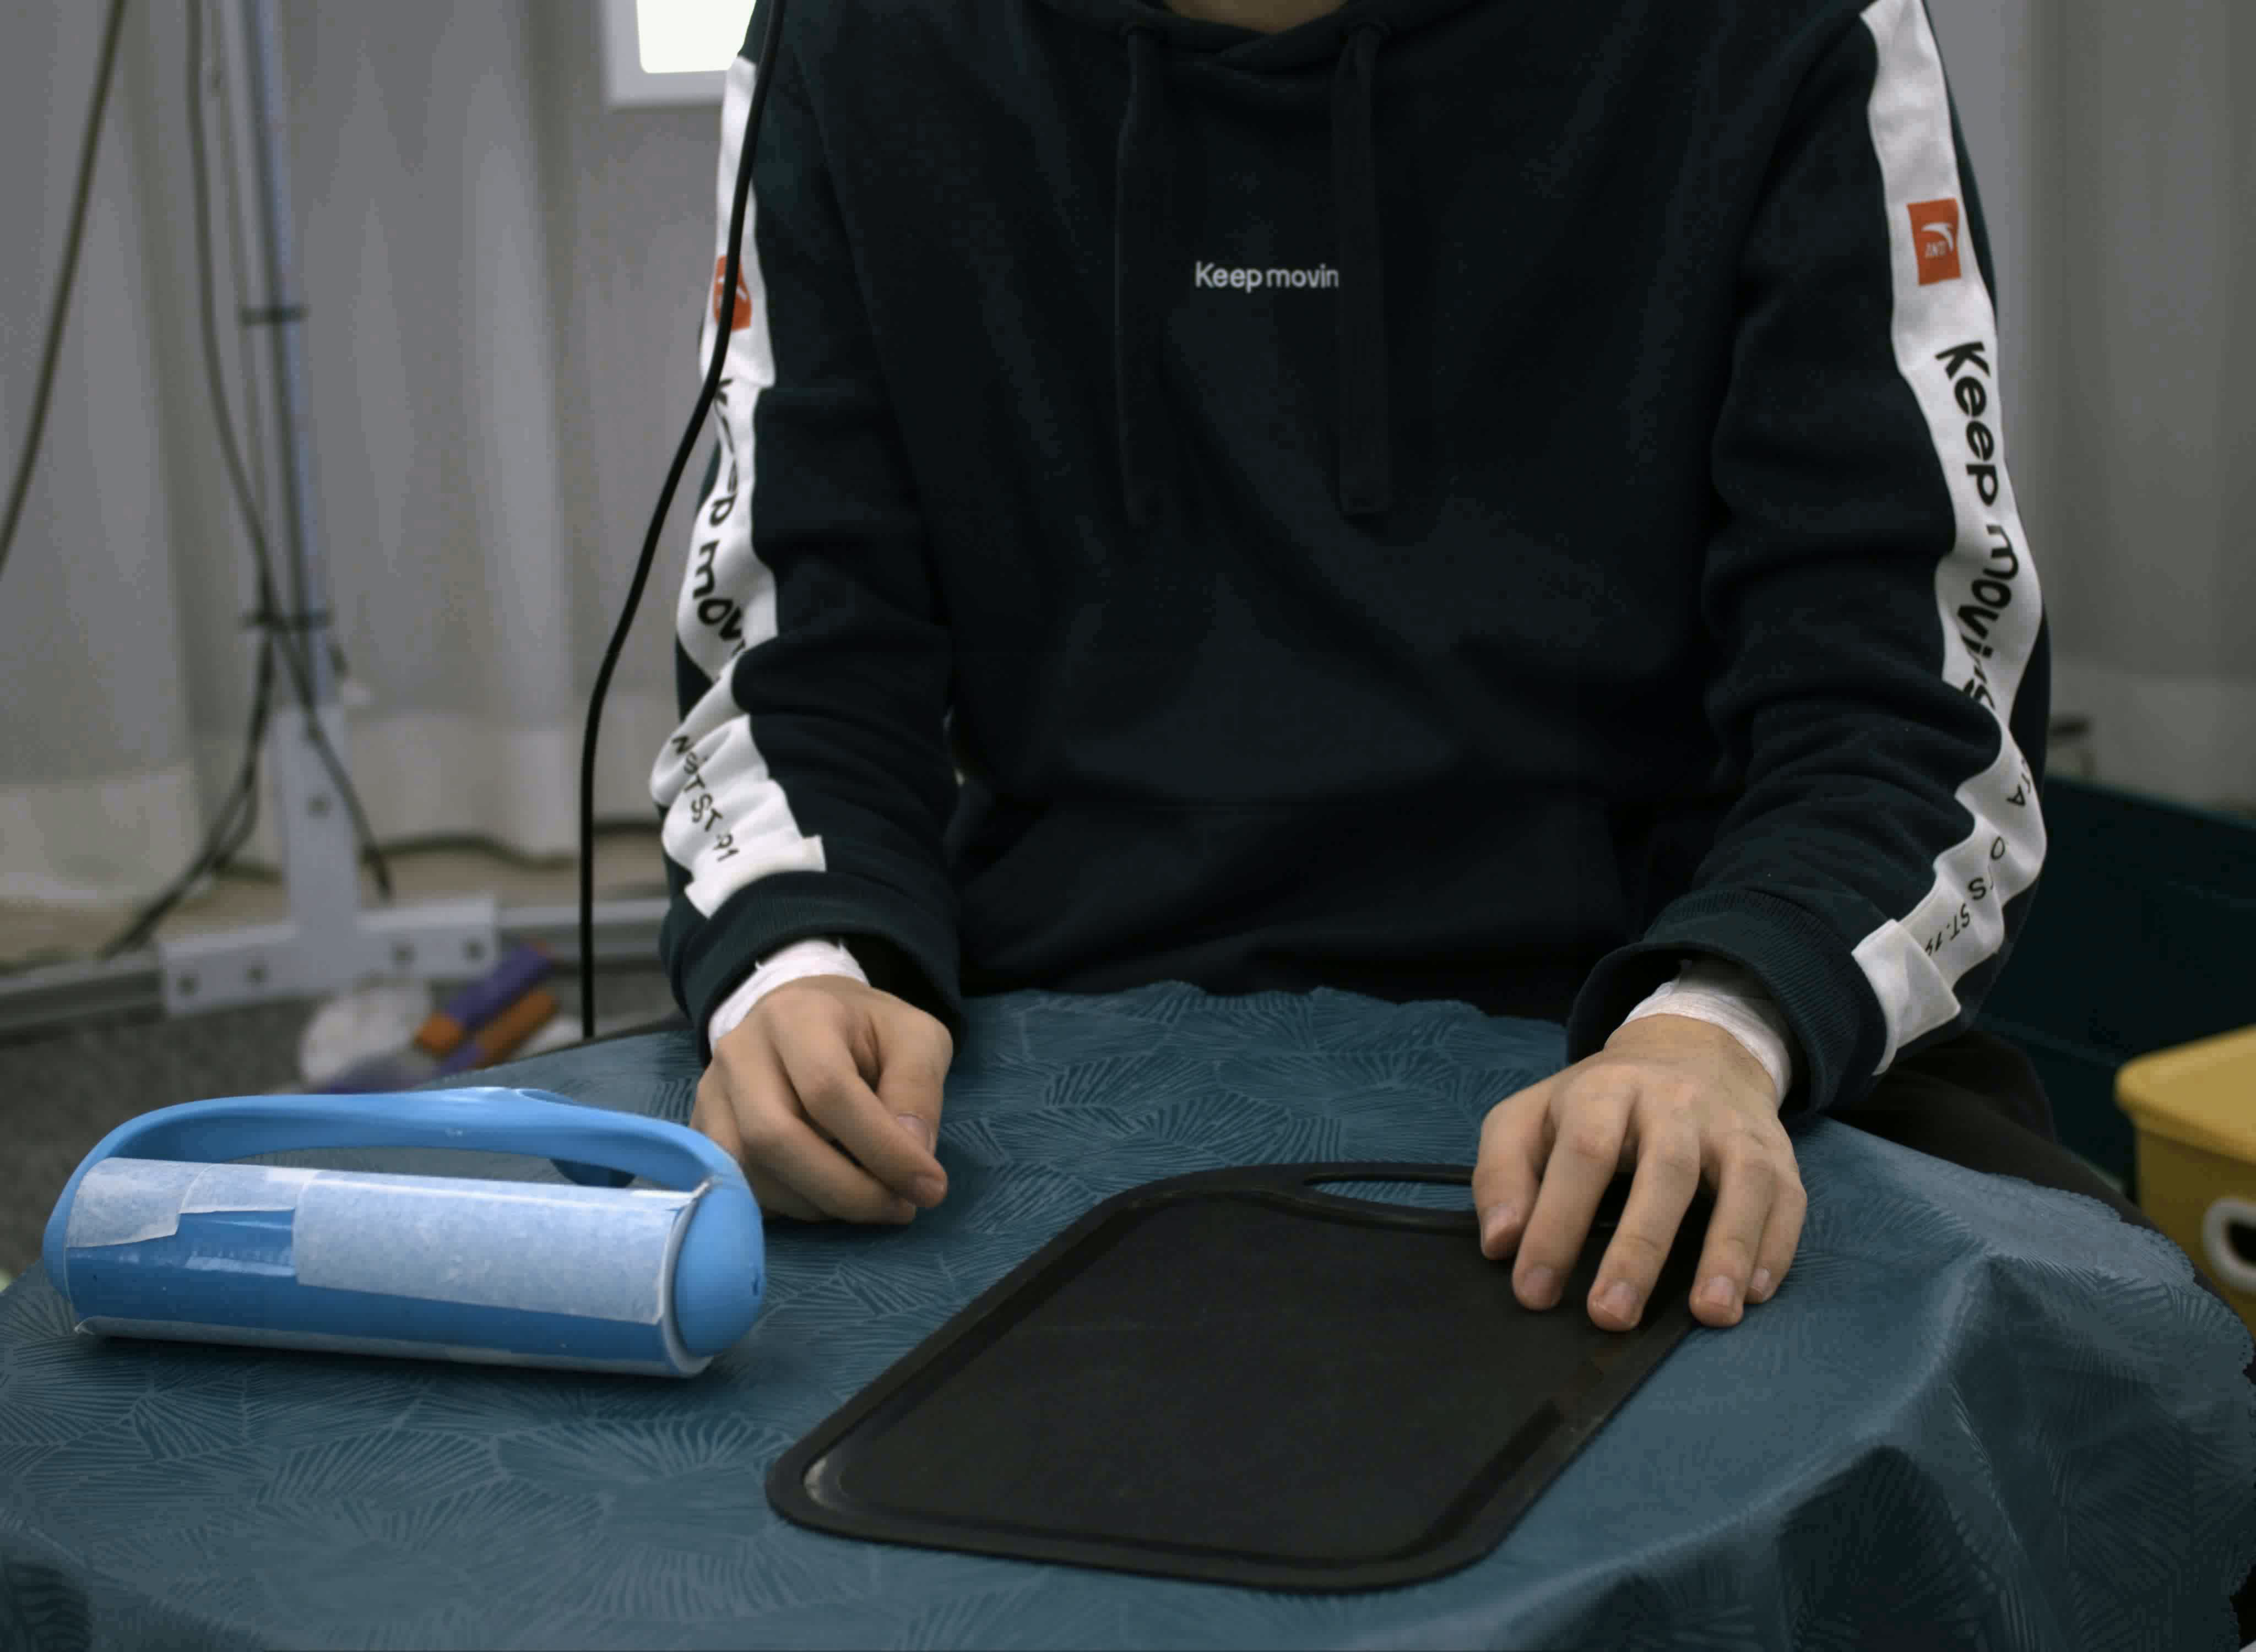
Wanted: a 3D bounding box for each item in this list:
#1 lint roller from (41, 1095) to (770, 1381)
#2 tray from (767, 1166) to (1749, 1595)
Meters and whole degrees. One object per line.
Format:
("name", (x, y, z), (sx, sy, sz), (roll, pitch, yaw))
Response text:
("lint roller", (-0.197, 0.112, 1.654), (0.229, 0.067, 0.181), (-1, 16, 17))
("tray", (0.046, 0.149, 1.564), (0.211, 0.010, 0.326), (4, 16, 24))
